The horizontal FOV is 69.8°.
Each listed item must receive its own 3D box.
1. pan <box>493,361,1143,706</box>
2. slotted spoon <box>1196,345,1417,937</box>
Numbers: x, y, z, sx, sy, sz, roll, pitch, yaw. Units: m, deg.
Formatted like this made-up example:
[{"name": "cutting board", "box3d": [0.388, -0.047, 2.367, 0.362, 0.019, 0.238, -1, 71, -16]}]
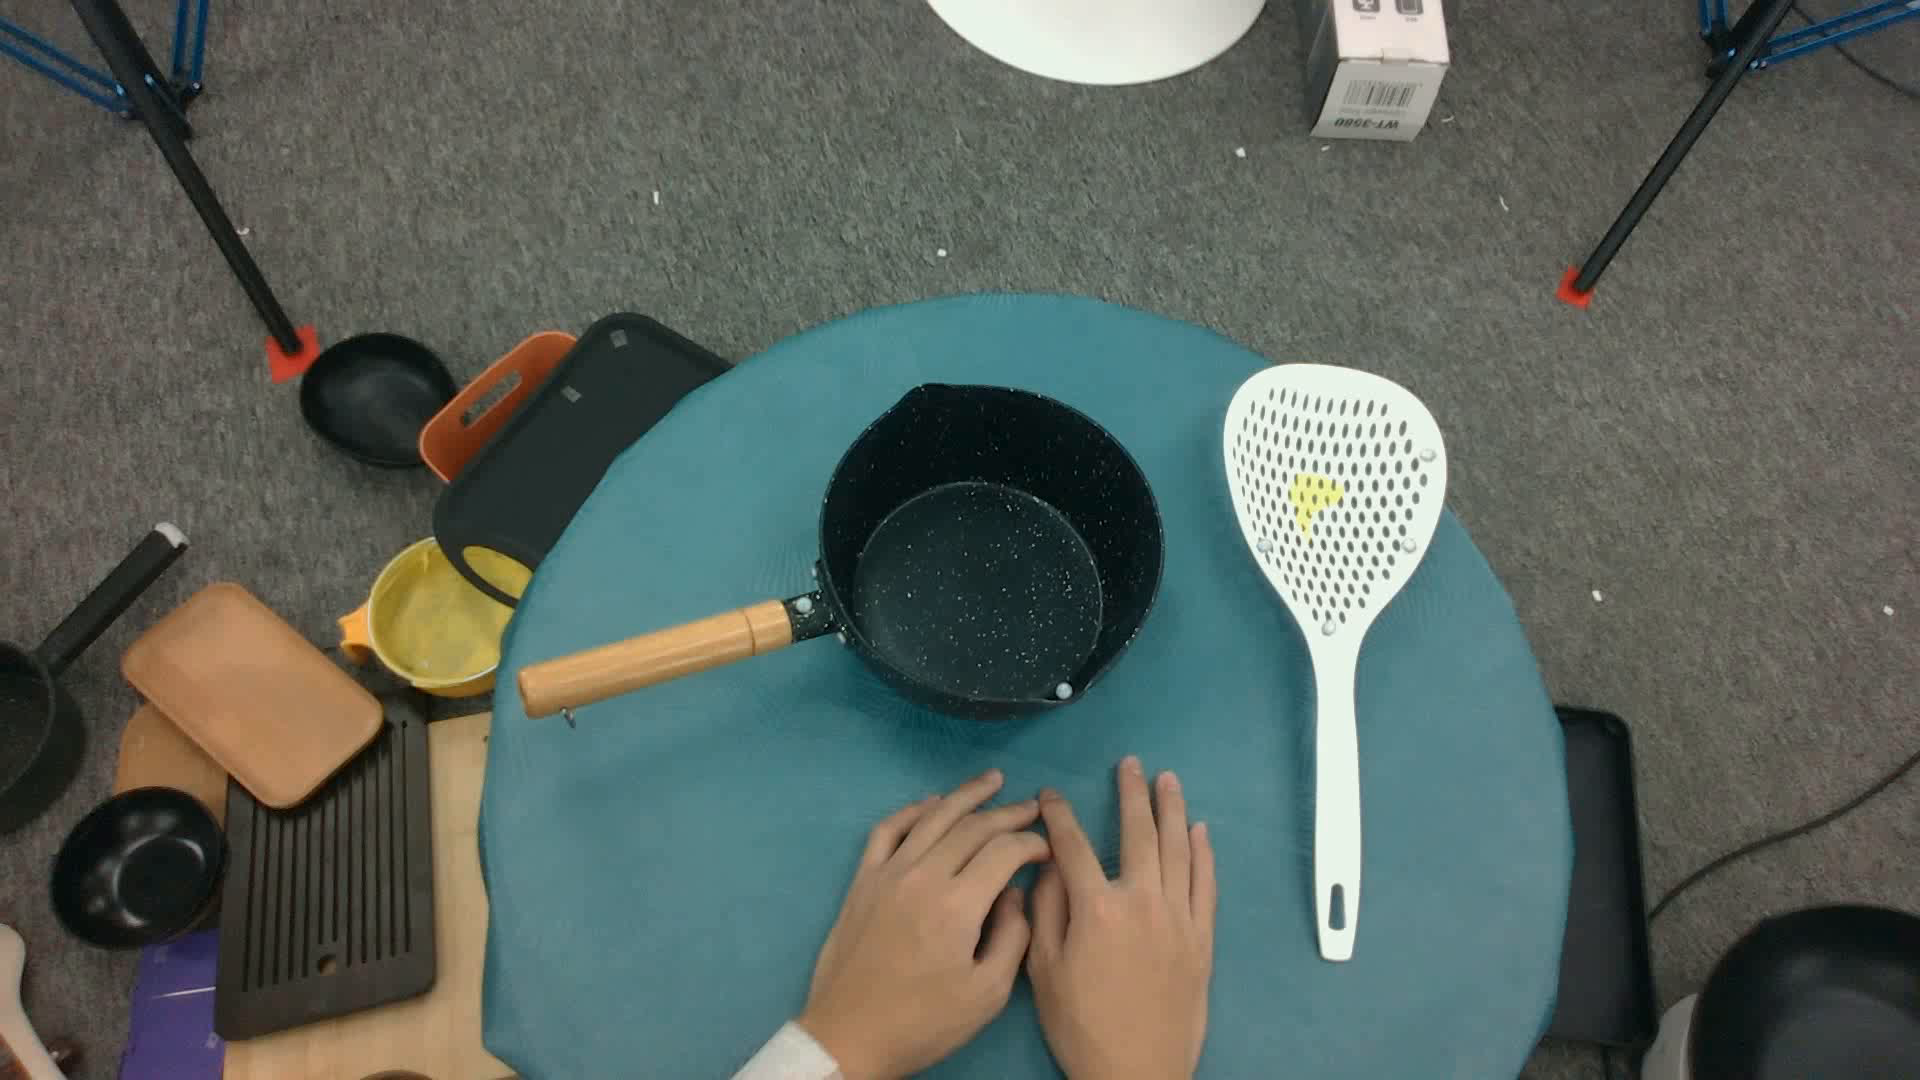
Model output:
[{"name": "pan", "box3d": [-0.068, 0.028, 0.731, 0.343, 0.108, 0.208, -21, 69, -17]}, {"name": "slotted spoon", "box3d": [0.200, 0.045, 0.789, 0.137, 0.050, 0.349, 6, 62, -6]}]
